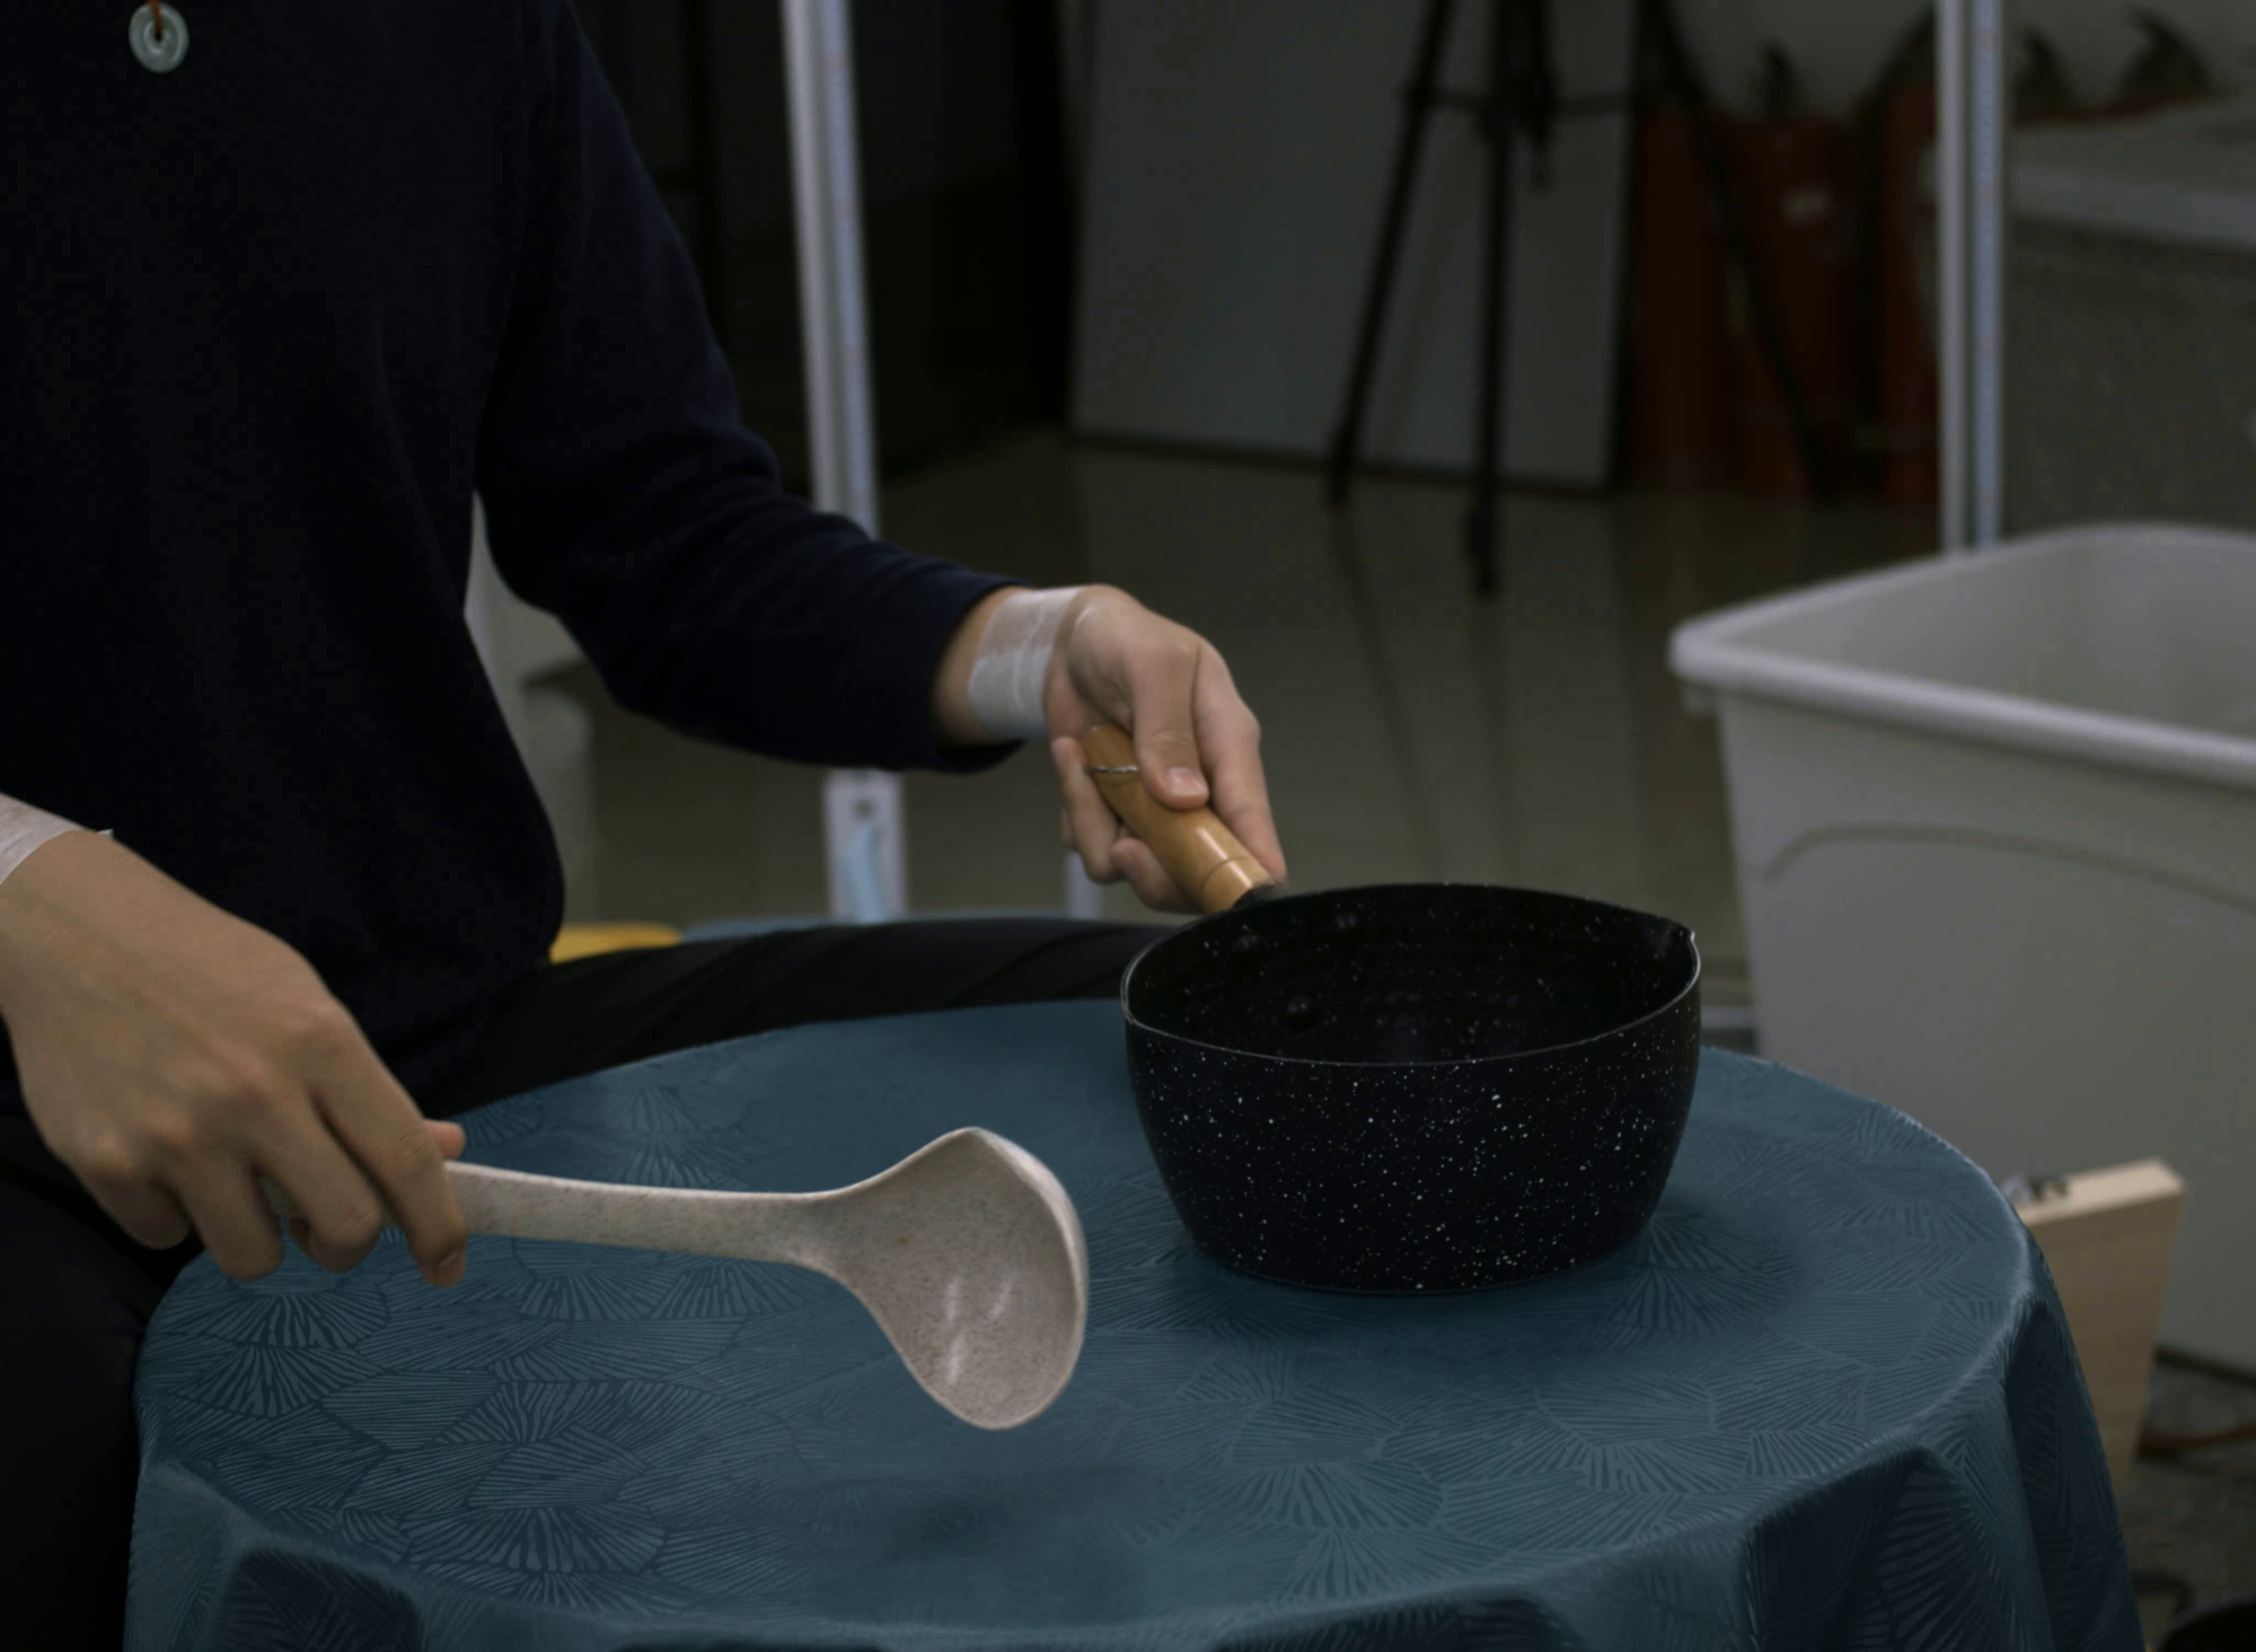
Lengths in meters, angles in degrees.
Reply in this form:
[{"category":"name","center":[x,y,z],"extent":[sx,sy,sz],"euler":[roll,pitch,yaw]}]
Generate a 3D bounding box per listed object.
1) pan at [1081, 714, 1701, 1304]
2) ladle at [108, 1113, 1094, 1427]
[{"category":"pan","center":[0.058,0.055,1.776],"extent":[0.203,0.109,0.346],"euler":[-11,19,-21]},{"category":"ladle","center":[-0.144,0.113,1.485],"extent":[0.270,0.090,0.070],"euler":[5,27,-7]}]
